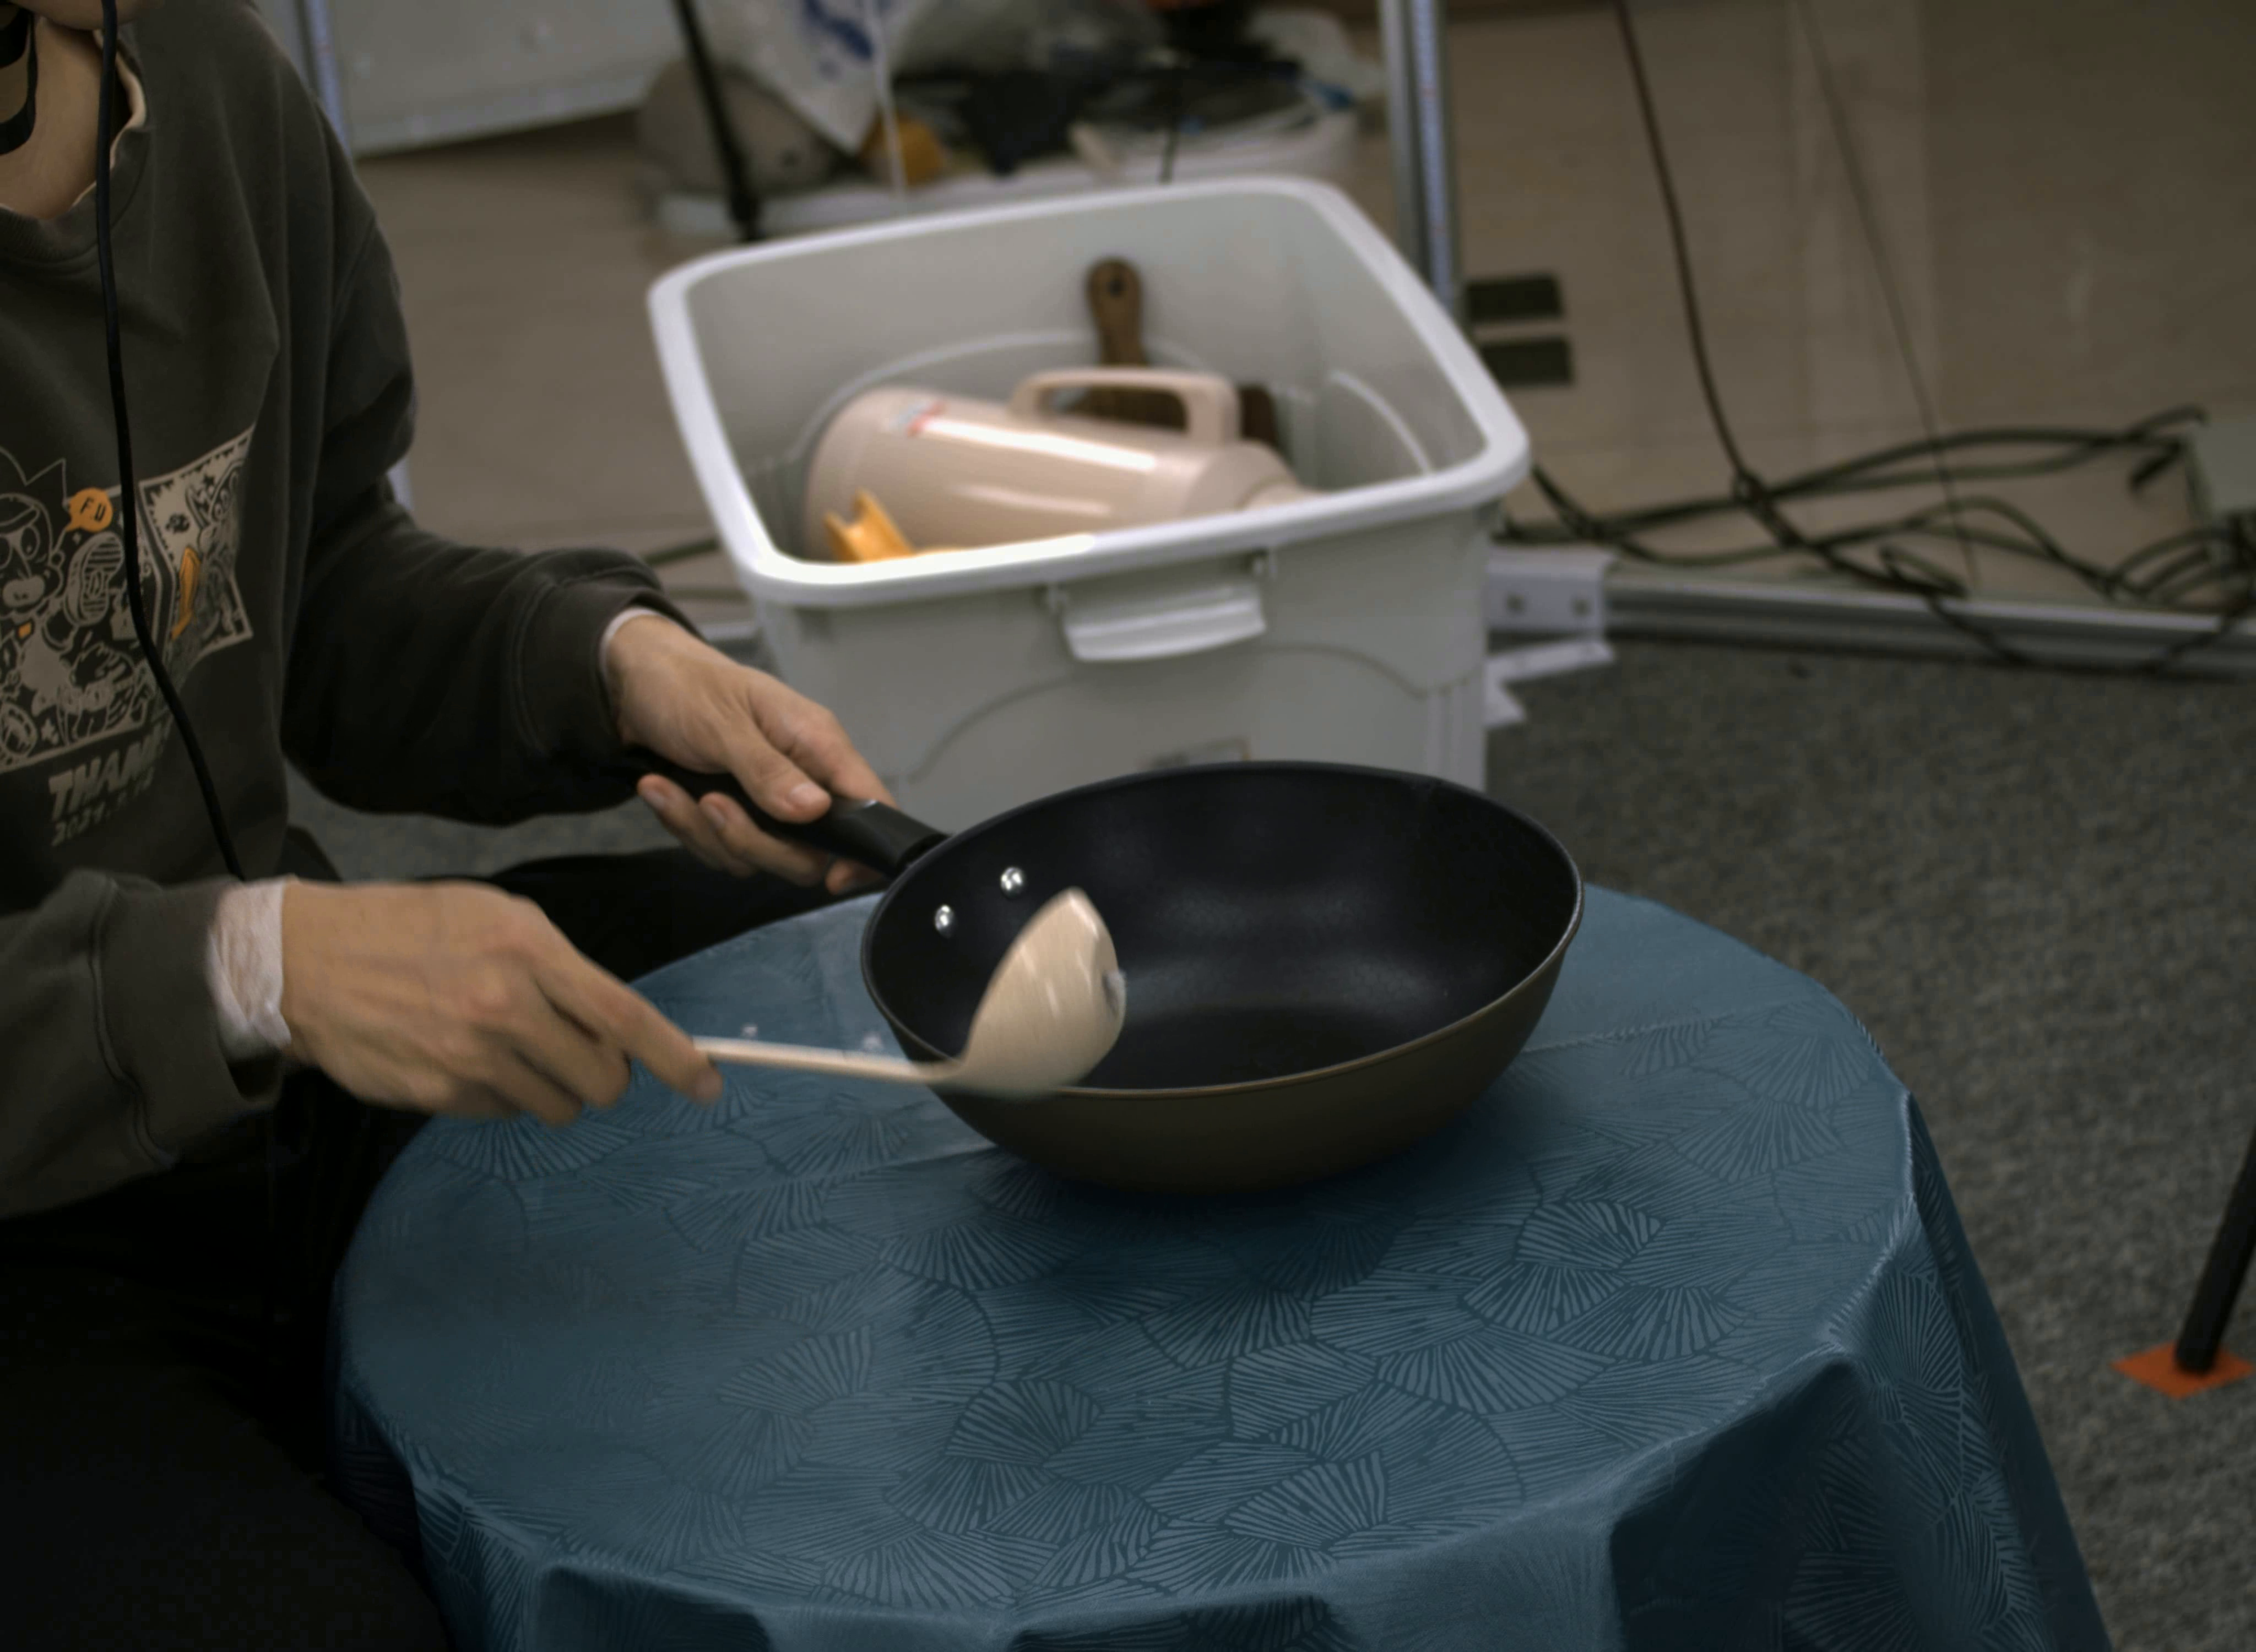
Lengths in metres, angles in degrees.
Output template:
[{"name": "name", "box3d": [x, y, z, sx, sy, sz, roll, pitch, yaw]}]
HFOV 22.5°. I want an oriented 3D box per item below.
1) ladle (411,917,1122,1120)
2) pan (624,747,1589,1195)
[{"name": "ladle", "box3d": [-0.128, 0.062, 1.995, 0.254, 0.072, 0.072, 3, -8, 12]}, {"name": "pan", "box3d": [-0.030, 0.050, 2.239, 0.460, 0.088, 0.285, 14, 32, 38]}]
